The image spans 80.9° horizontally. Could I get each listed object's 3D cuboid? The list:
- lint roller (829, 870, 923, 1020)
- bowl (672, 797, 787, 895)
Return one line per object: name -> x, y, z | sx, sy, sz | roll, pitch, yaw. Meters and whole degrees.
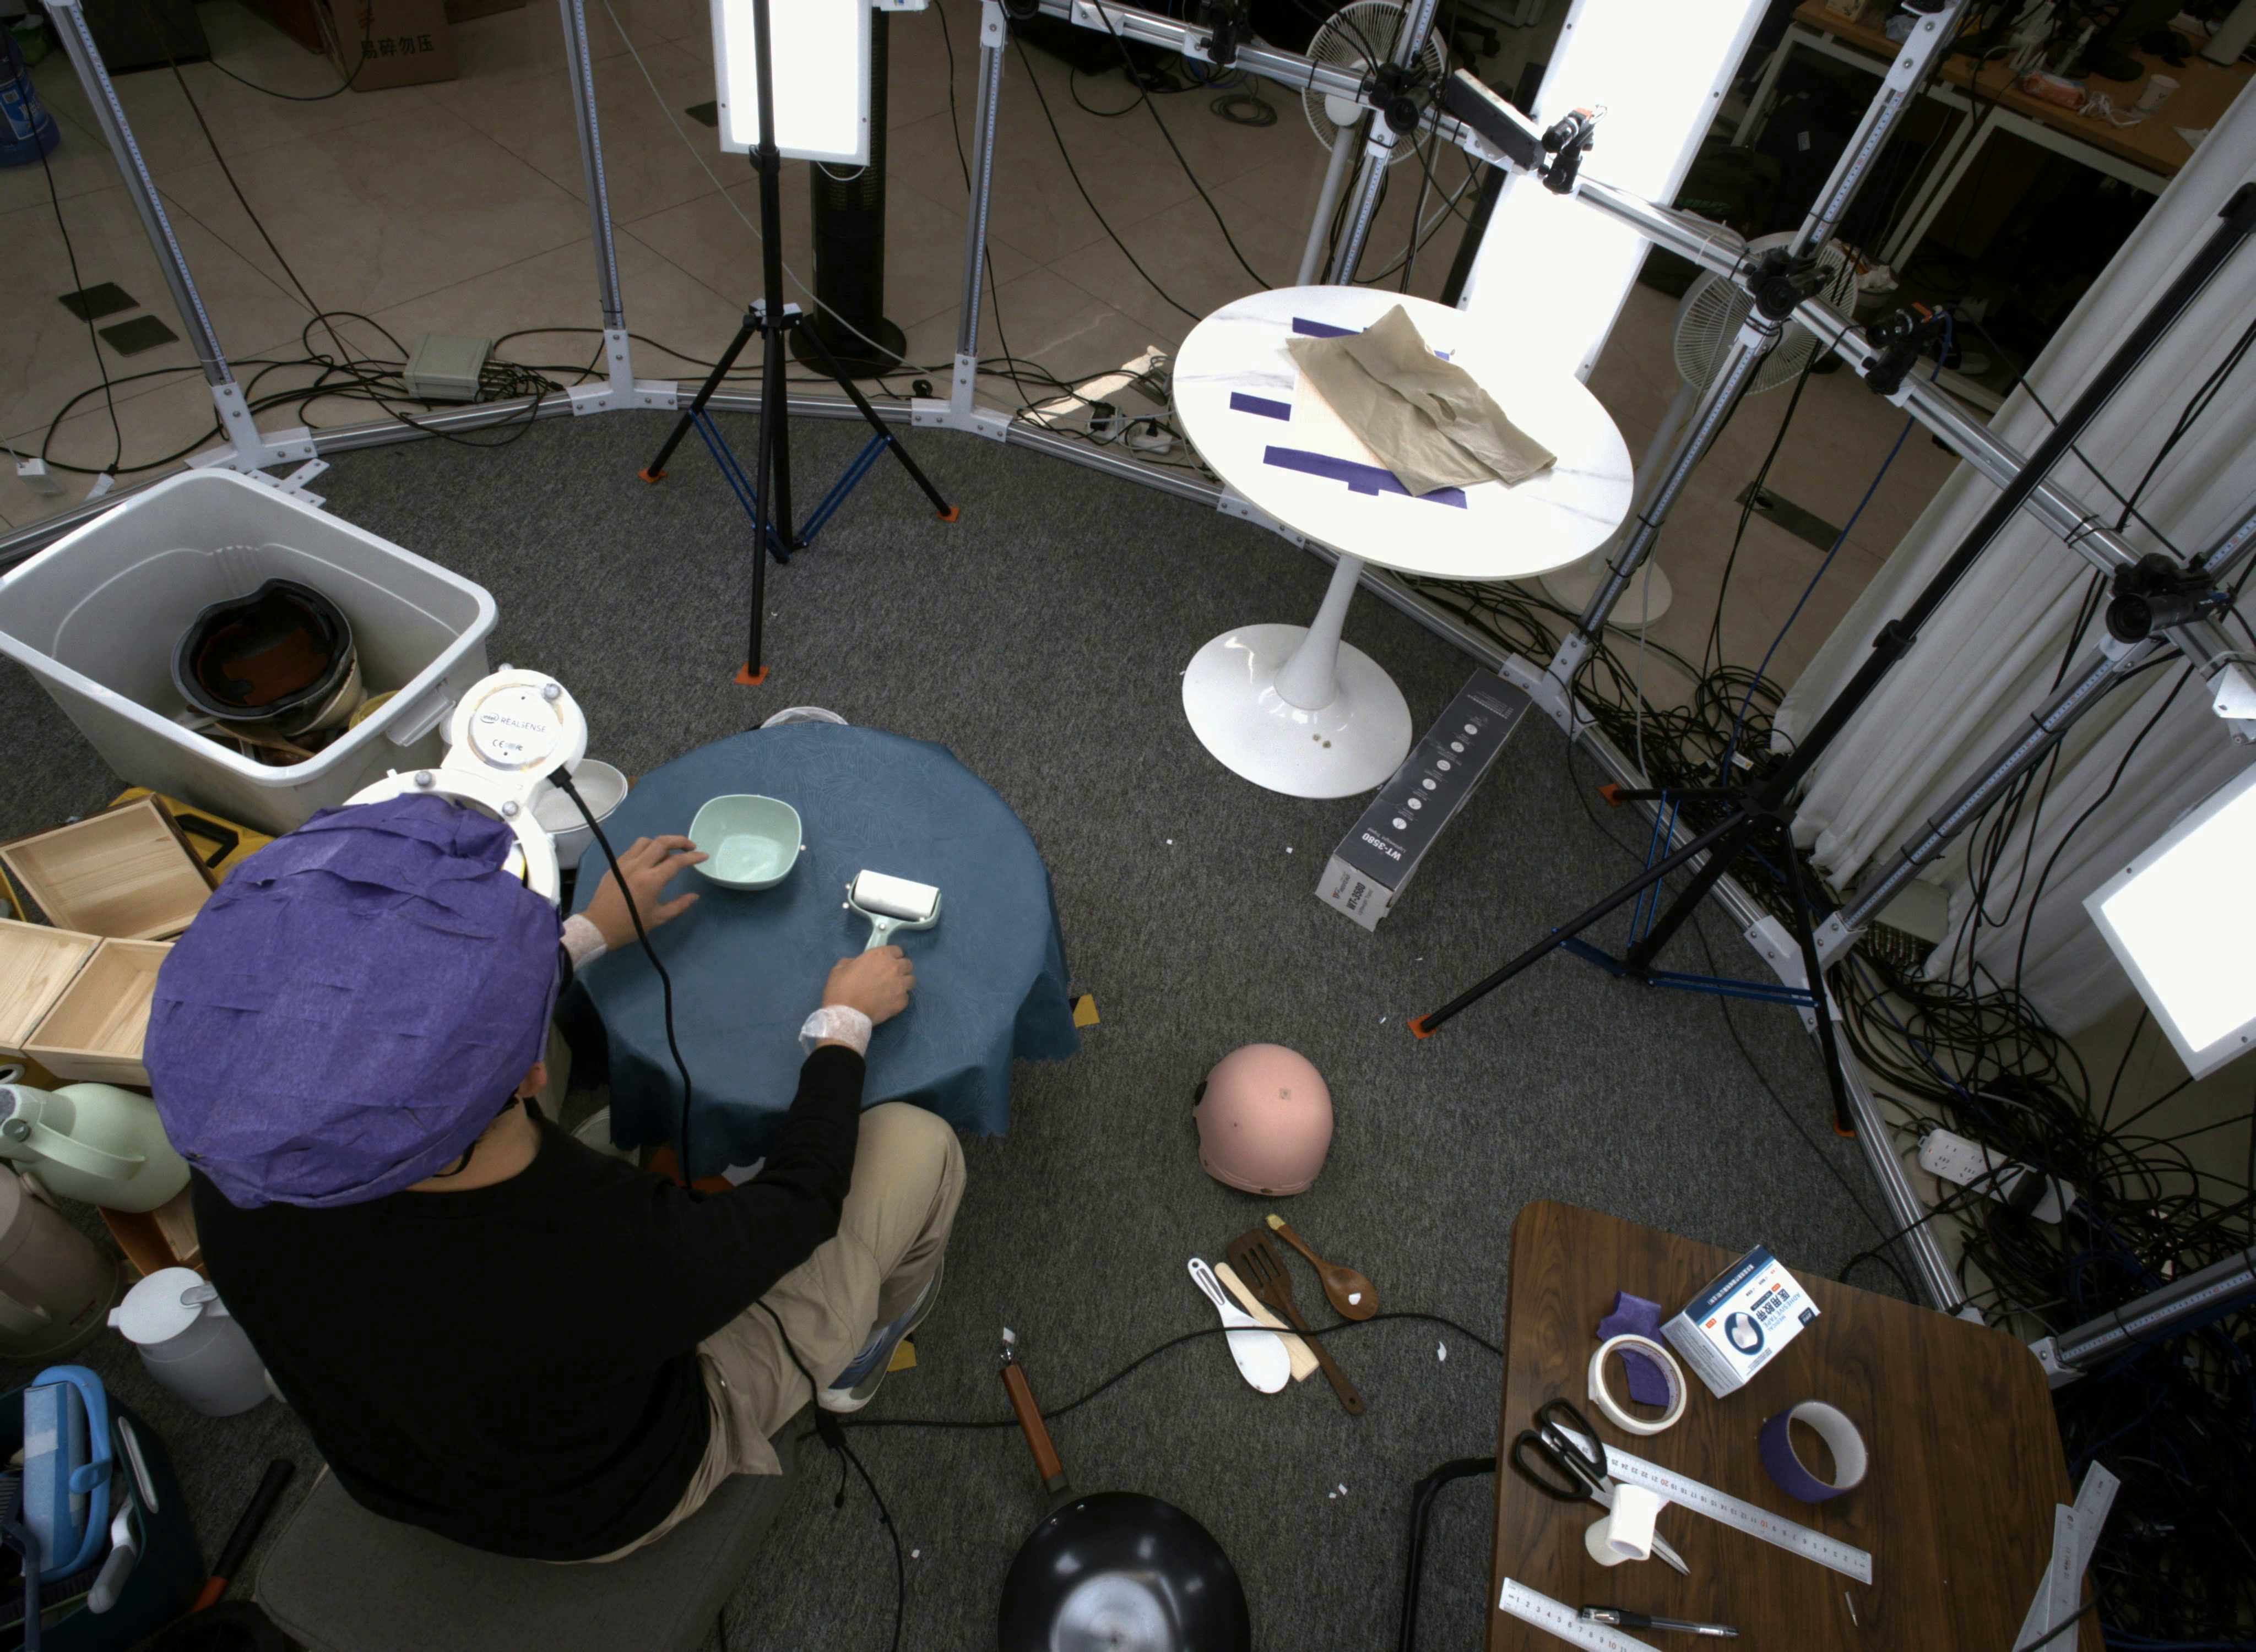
lint roller -> -0.328, 0.143, 1.606 | 0.116, 0.049, 0.194 | 14, 51, -6
bowl -> -0.502, 0.034, 1.636 | 0.151, 0.060, 0.148 | 9, 51, -9
